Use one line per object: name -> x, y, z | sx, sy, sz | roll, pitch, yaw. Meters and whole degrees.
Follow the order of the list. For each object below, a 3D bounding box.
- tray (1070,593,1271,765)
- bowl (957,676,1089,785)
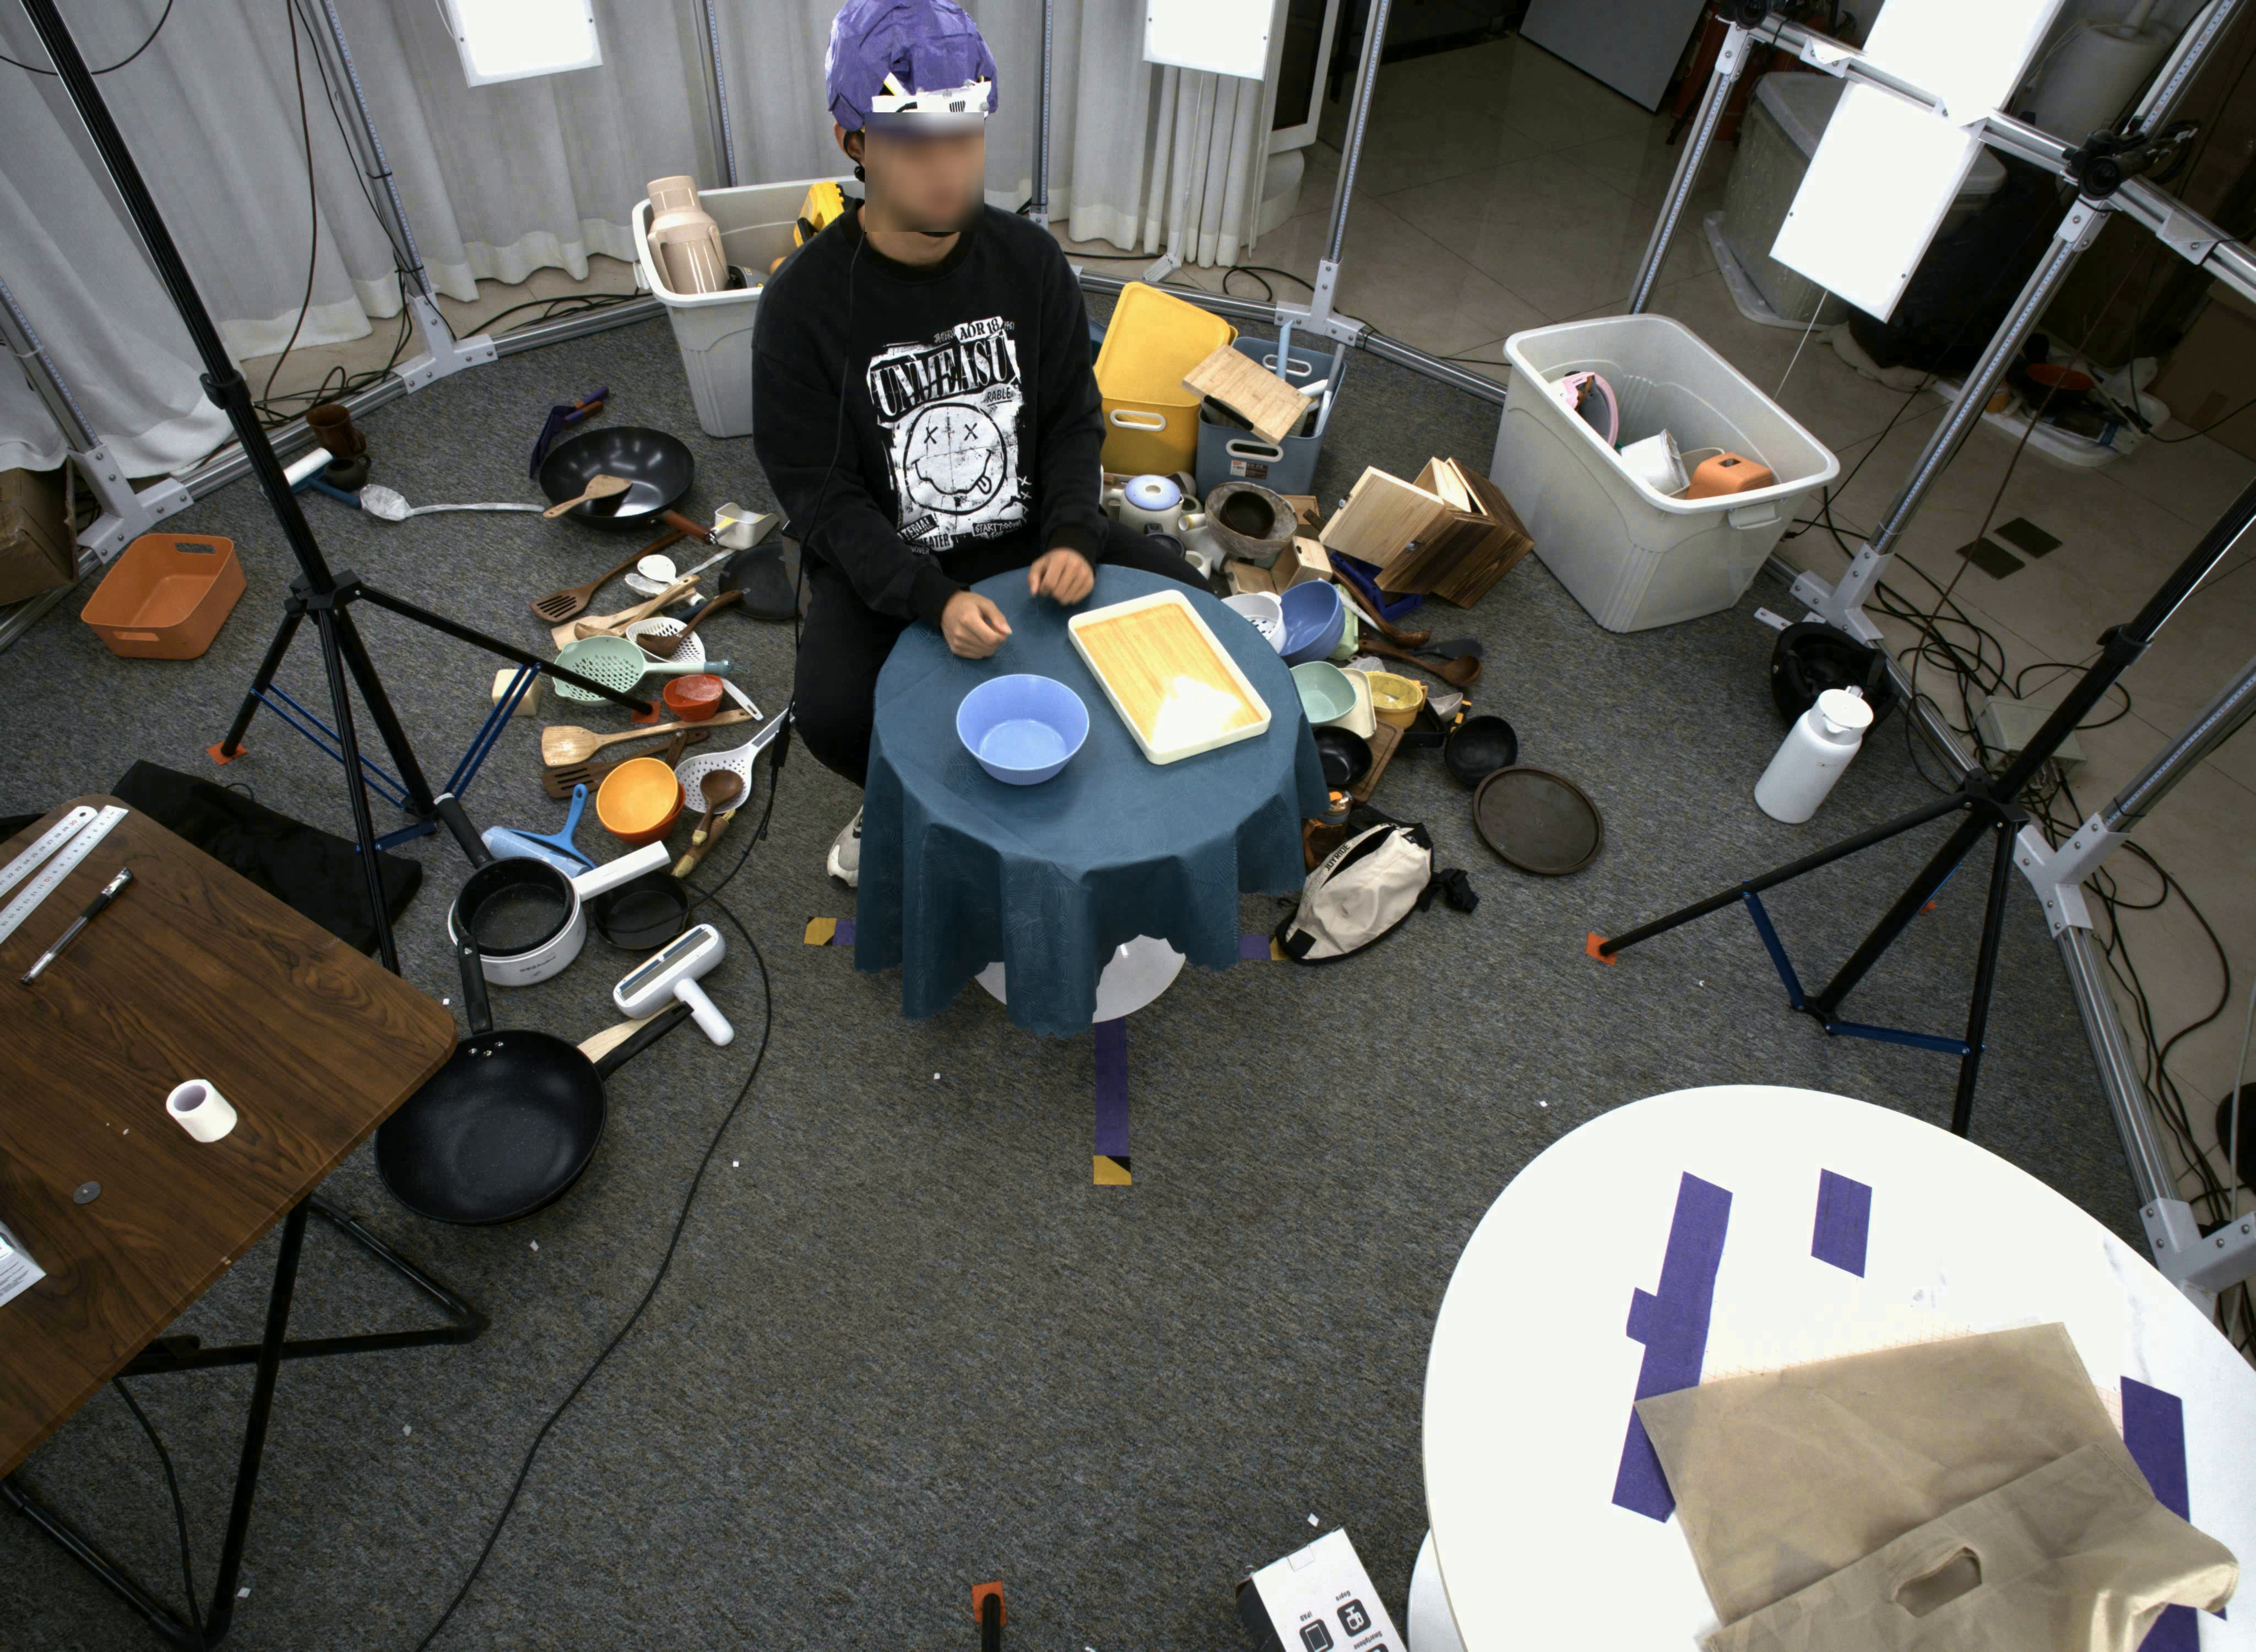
tray -> 0.057, -0.219, 1.862 | 0.192, 0.027, 0.307 | -18, 52, -18
bowl -> -0.141, -0.119, 1.732 | 0.176, 0.068, 0.180 | 2, 50, -3
